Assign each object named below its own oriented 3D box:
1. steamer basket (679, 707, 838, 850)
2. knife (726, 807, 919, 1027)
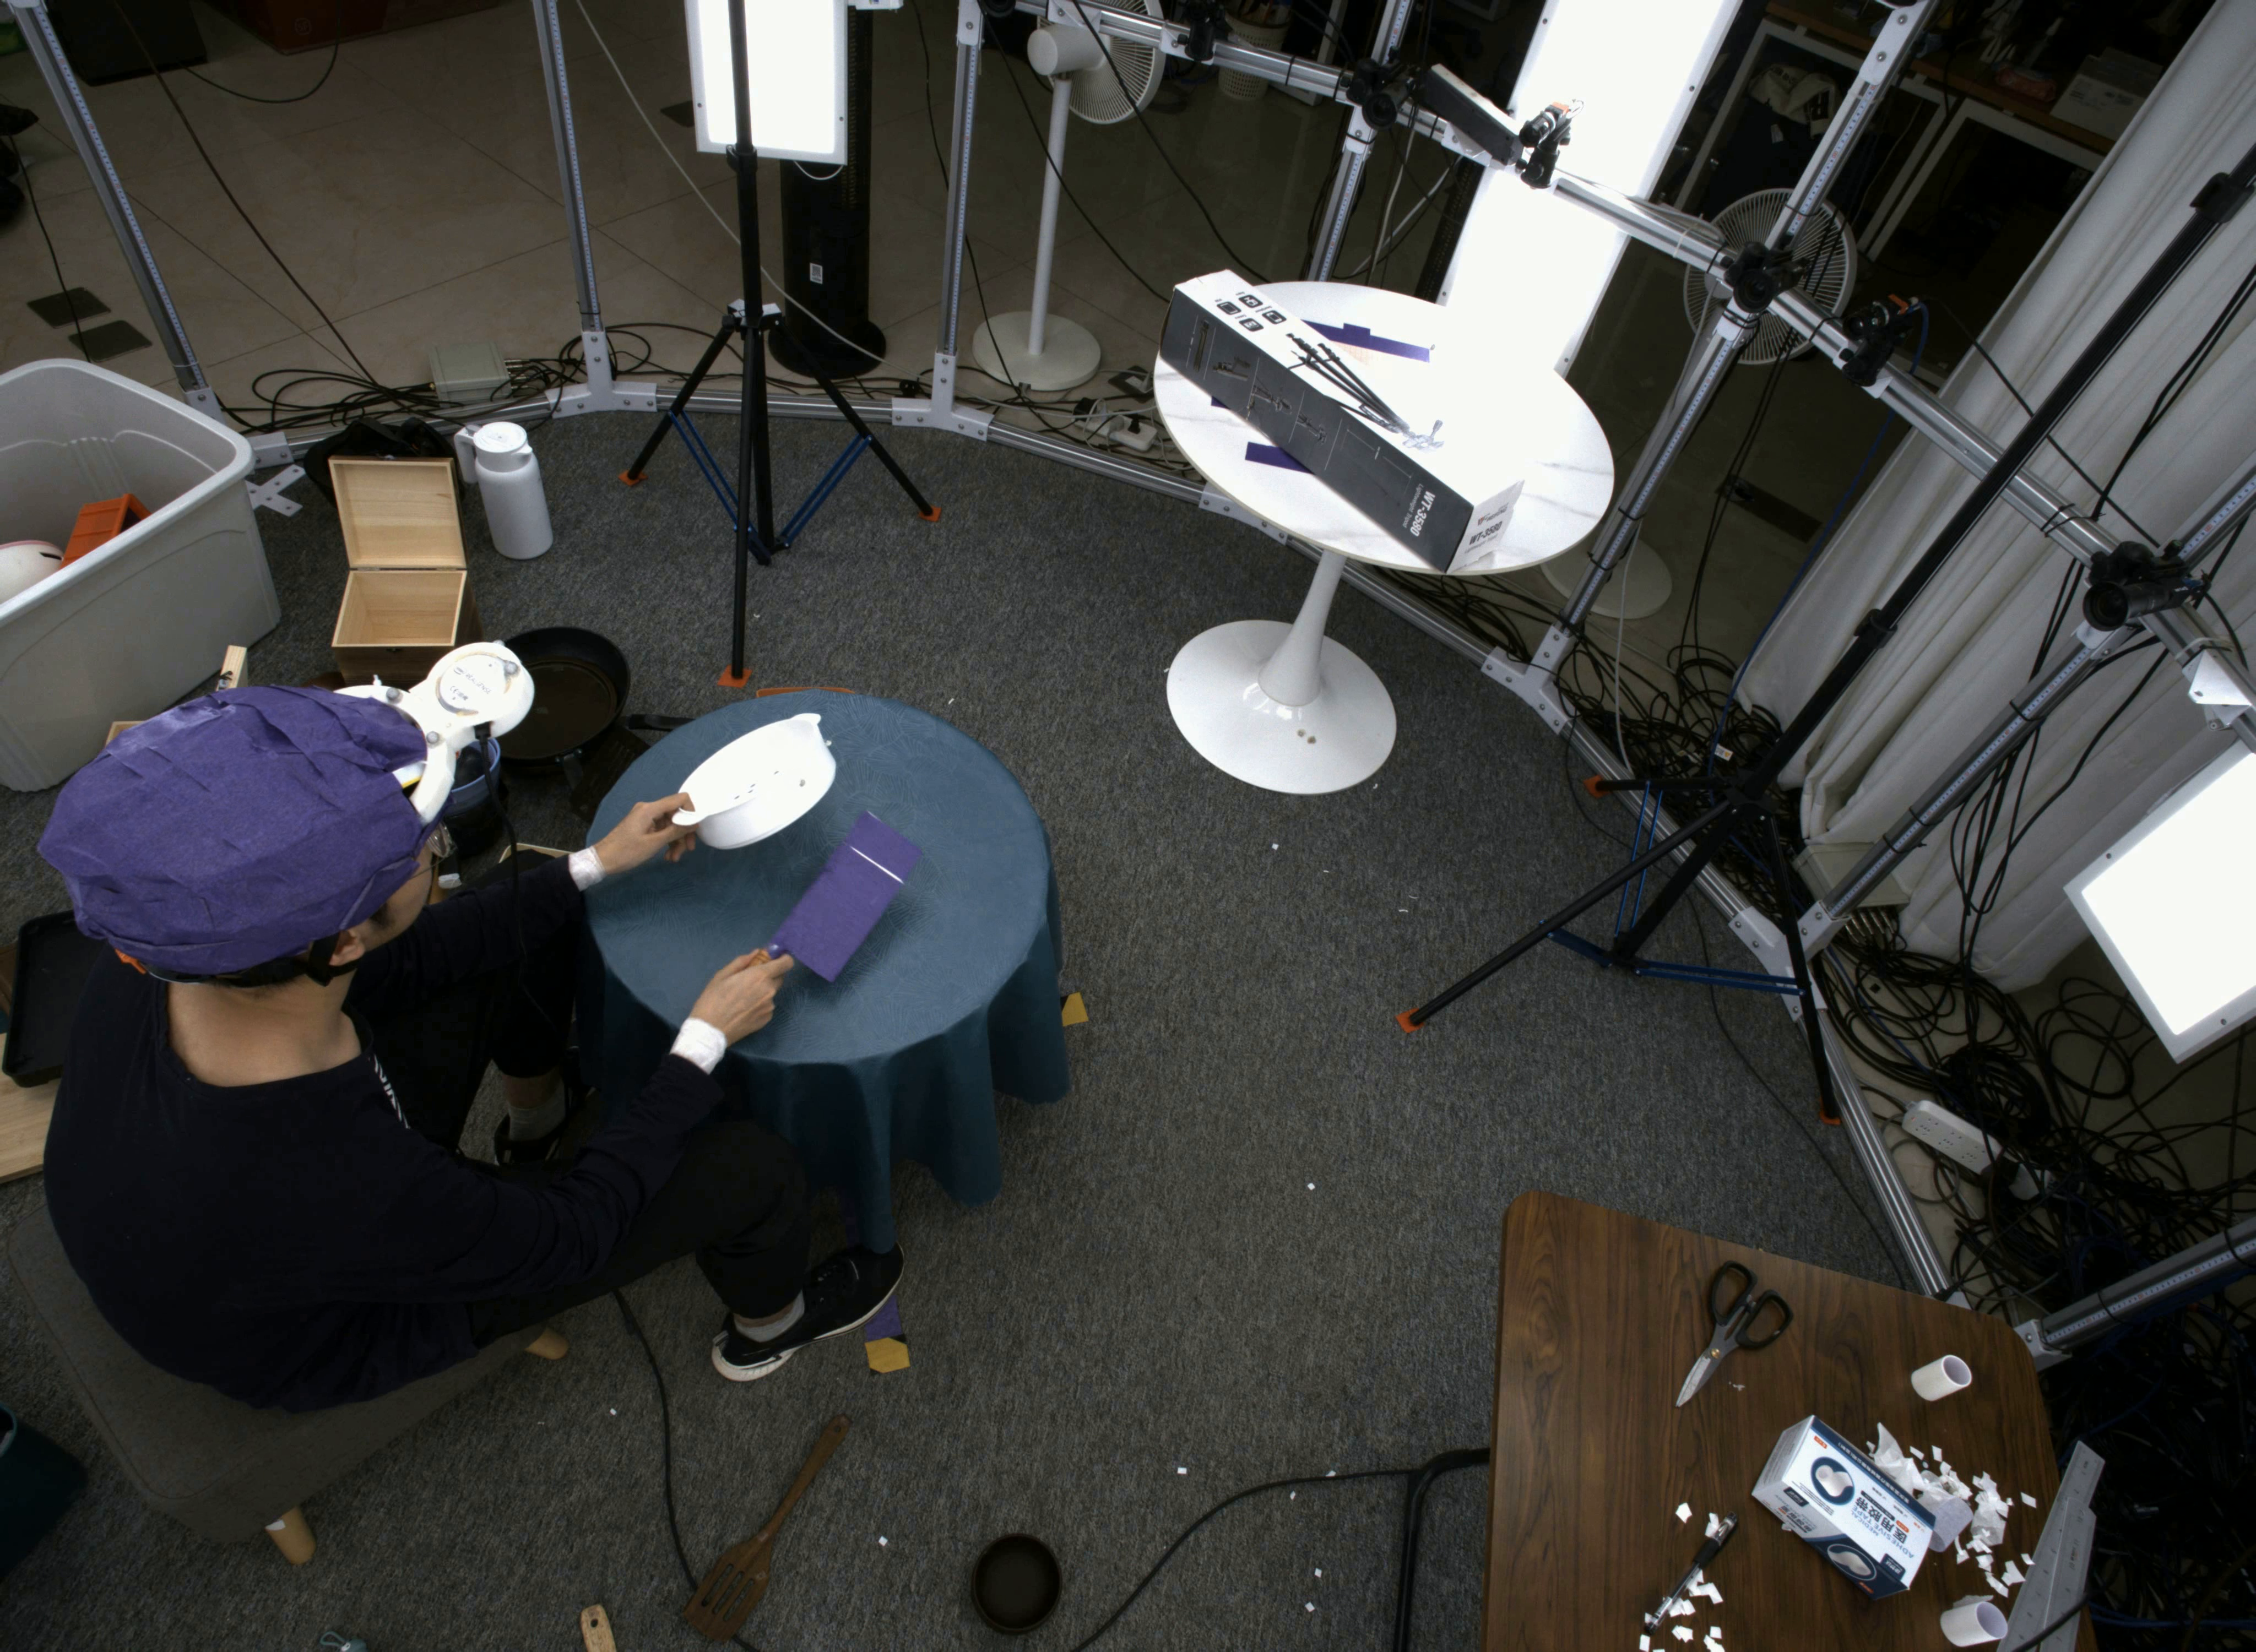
[{"bbox_3d":[-0.462,-0.056,1.635,0.195,0.072,0.230,6,46,44],"label":"steamer basket"},{"bbox_3d":[-0.364,0.122,1.587,0.105,0.032,0.314,38,64,-13],"label":"knife"}]
